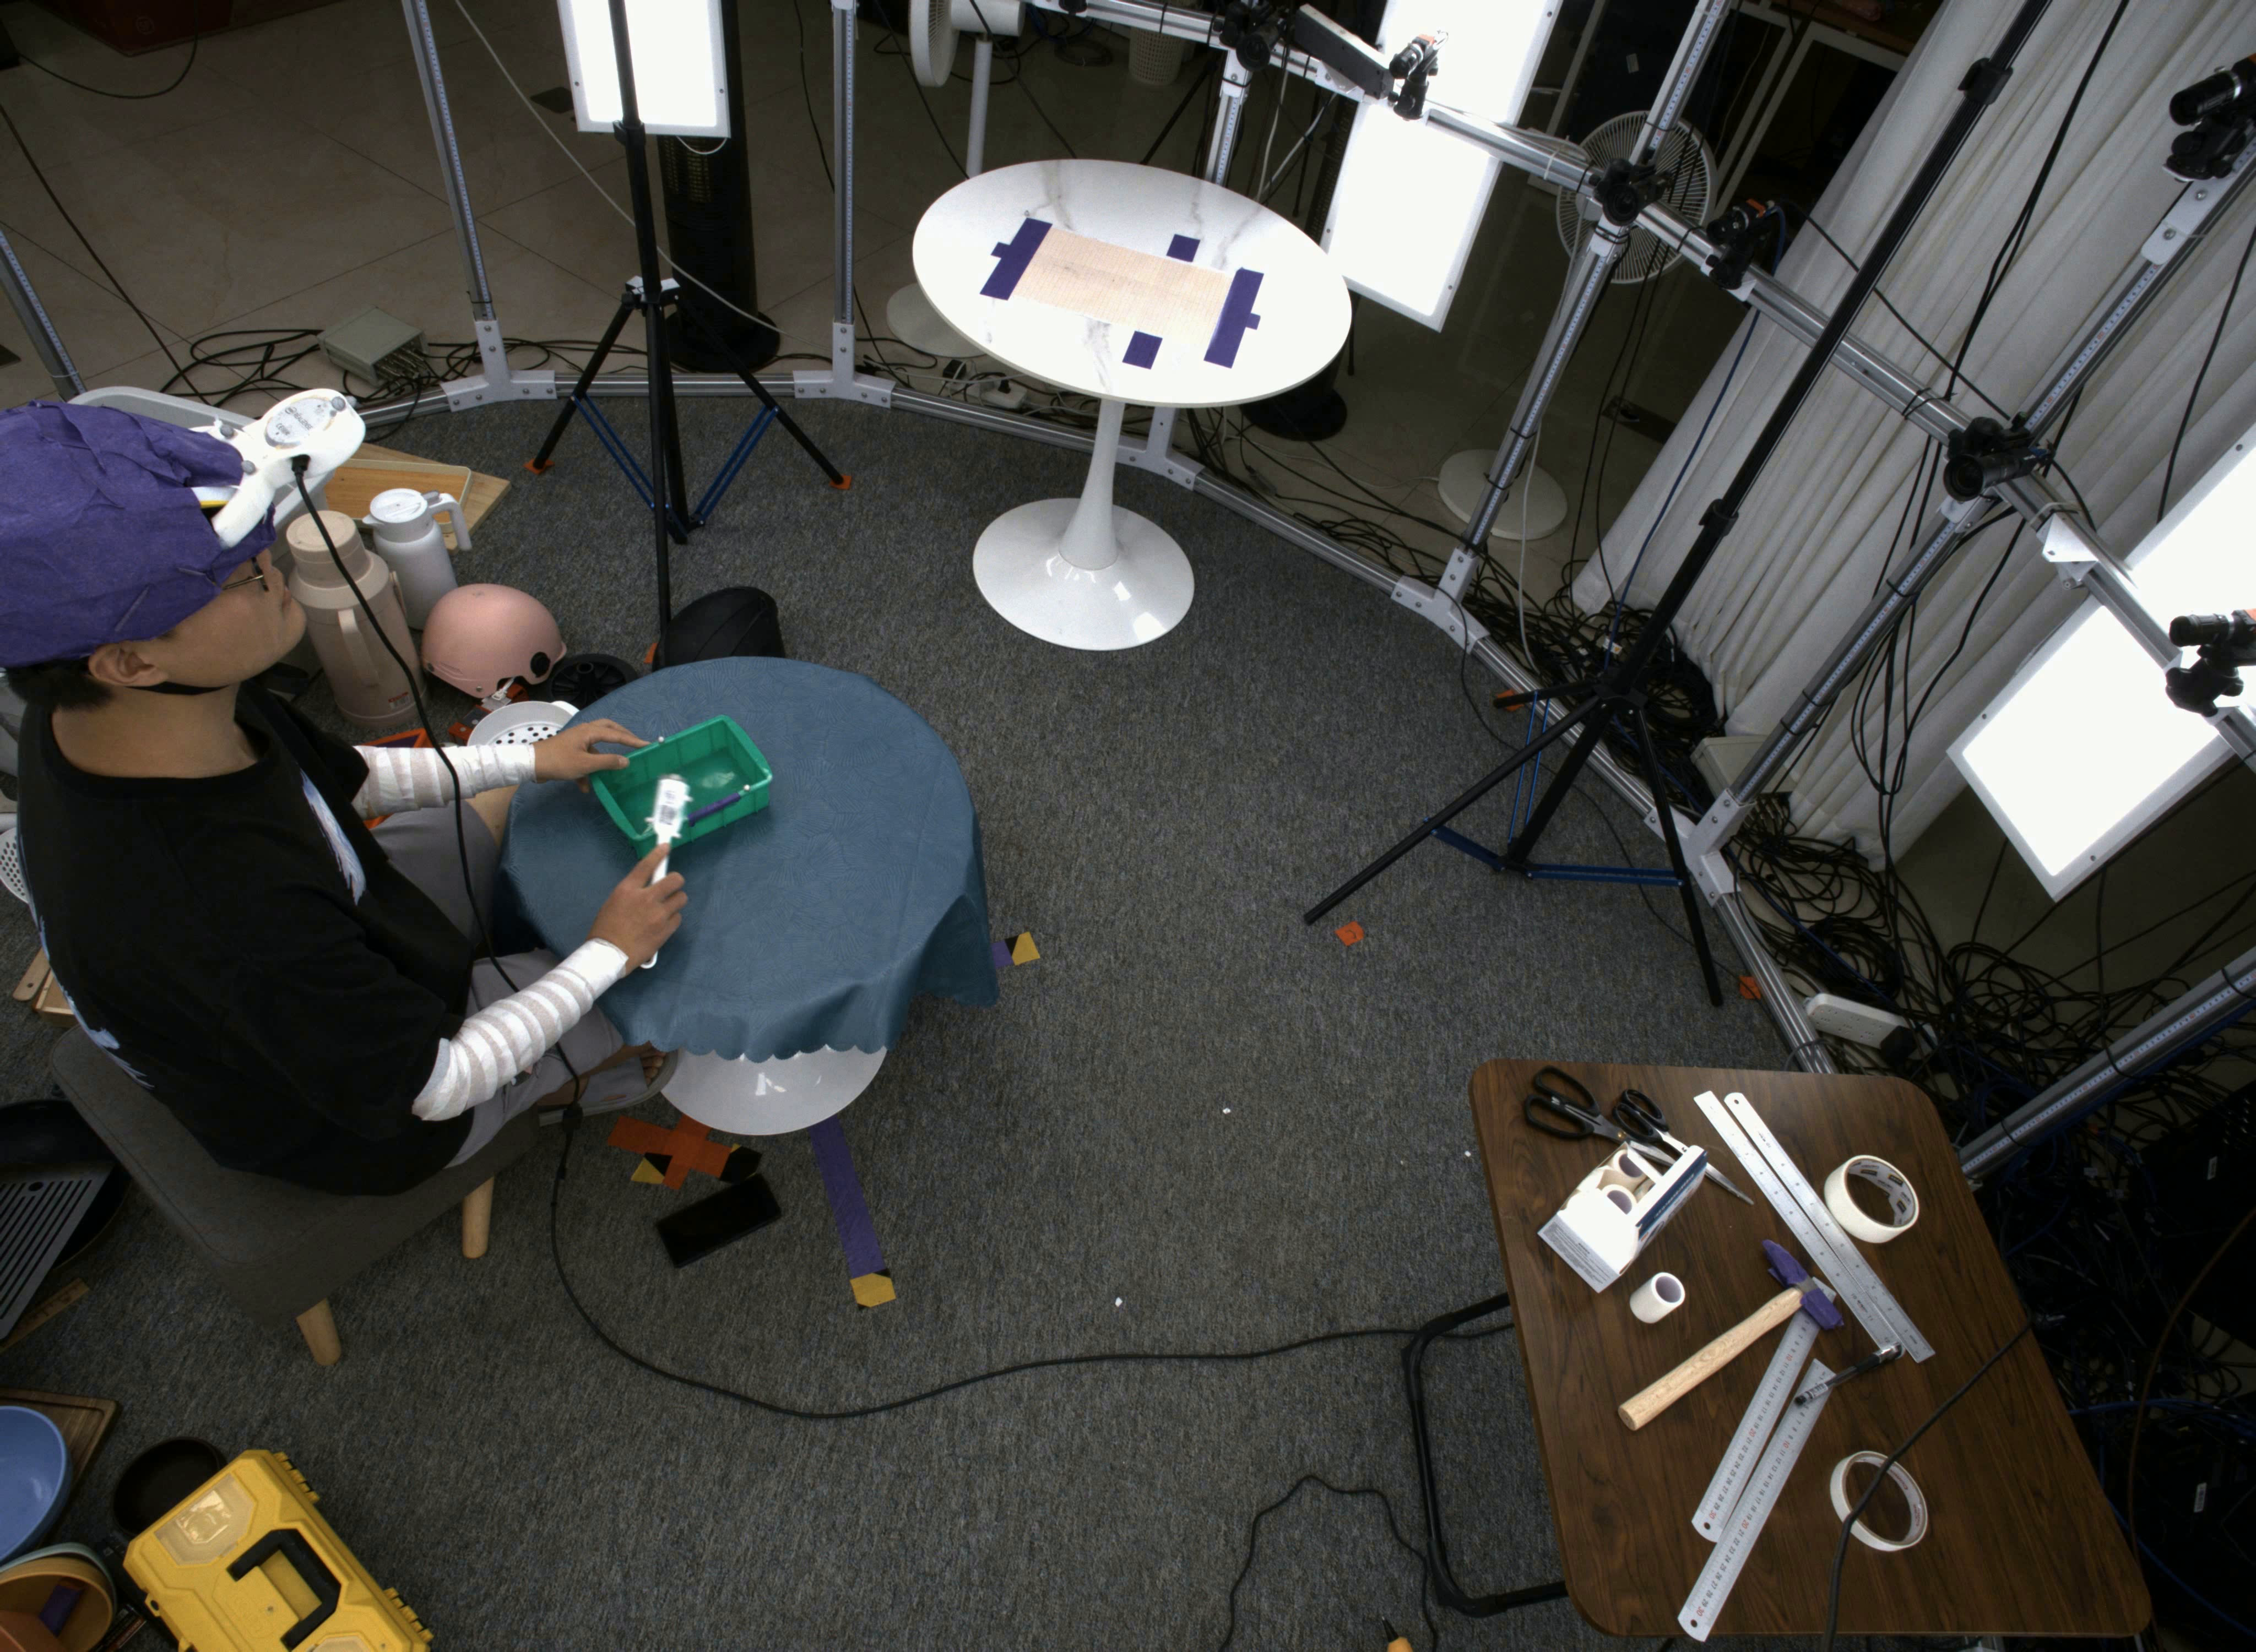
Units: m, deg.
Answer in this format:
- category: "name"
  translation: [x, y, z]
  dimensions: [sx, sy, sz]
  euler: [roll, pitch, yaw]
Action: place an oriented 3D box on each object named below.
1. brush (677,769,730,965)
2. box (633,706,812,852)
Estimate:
- category: "brush"
  translation: [-0.533, 0.048, 1.603]
  dimensions: [0.035, 0.049, 0.245]
  euler: [12, 81, -27]
- category: "box"
  translation: [-0.536, -0.061, 1.710]
  dimensions: [0.211, 0.066, 0.136]
  euler: [-27, 68, -31]
